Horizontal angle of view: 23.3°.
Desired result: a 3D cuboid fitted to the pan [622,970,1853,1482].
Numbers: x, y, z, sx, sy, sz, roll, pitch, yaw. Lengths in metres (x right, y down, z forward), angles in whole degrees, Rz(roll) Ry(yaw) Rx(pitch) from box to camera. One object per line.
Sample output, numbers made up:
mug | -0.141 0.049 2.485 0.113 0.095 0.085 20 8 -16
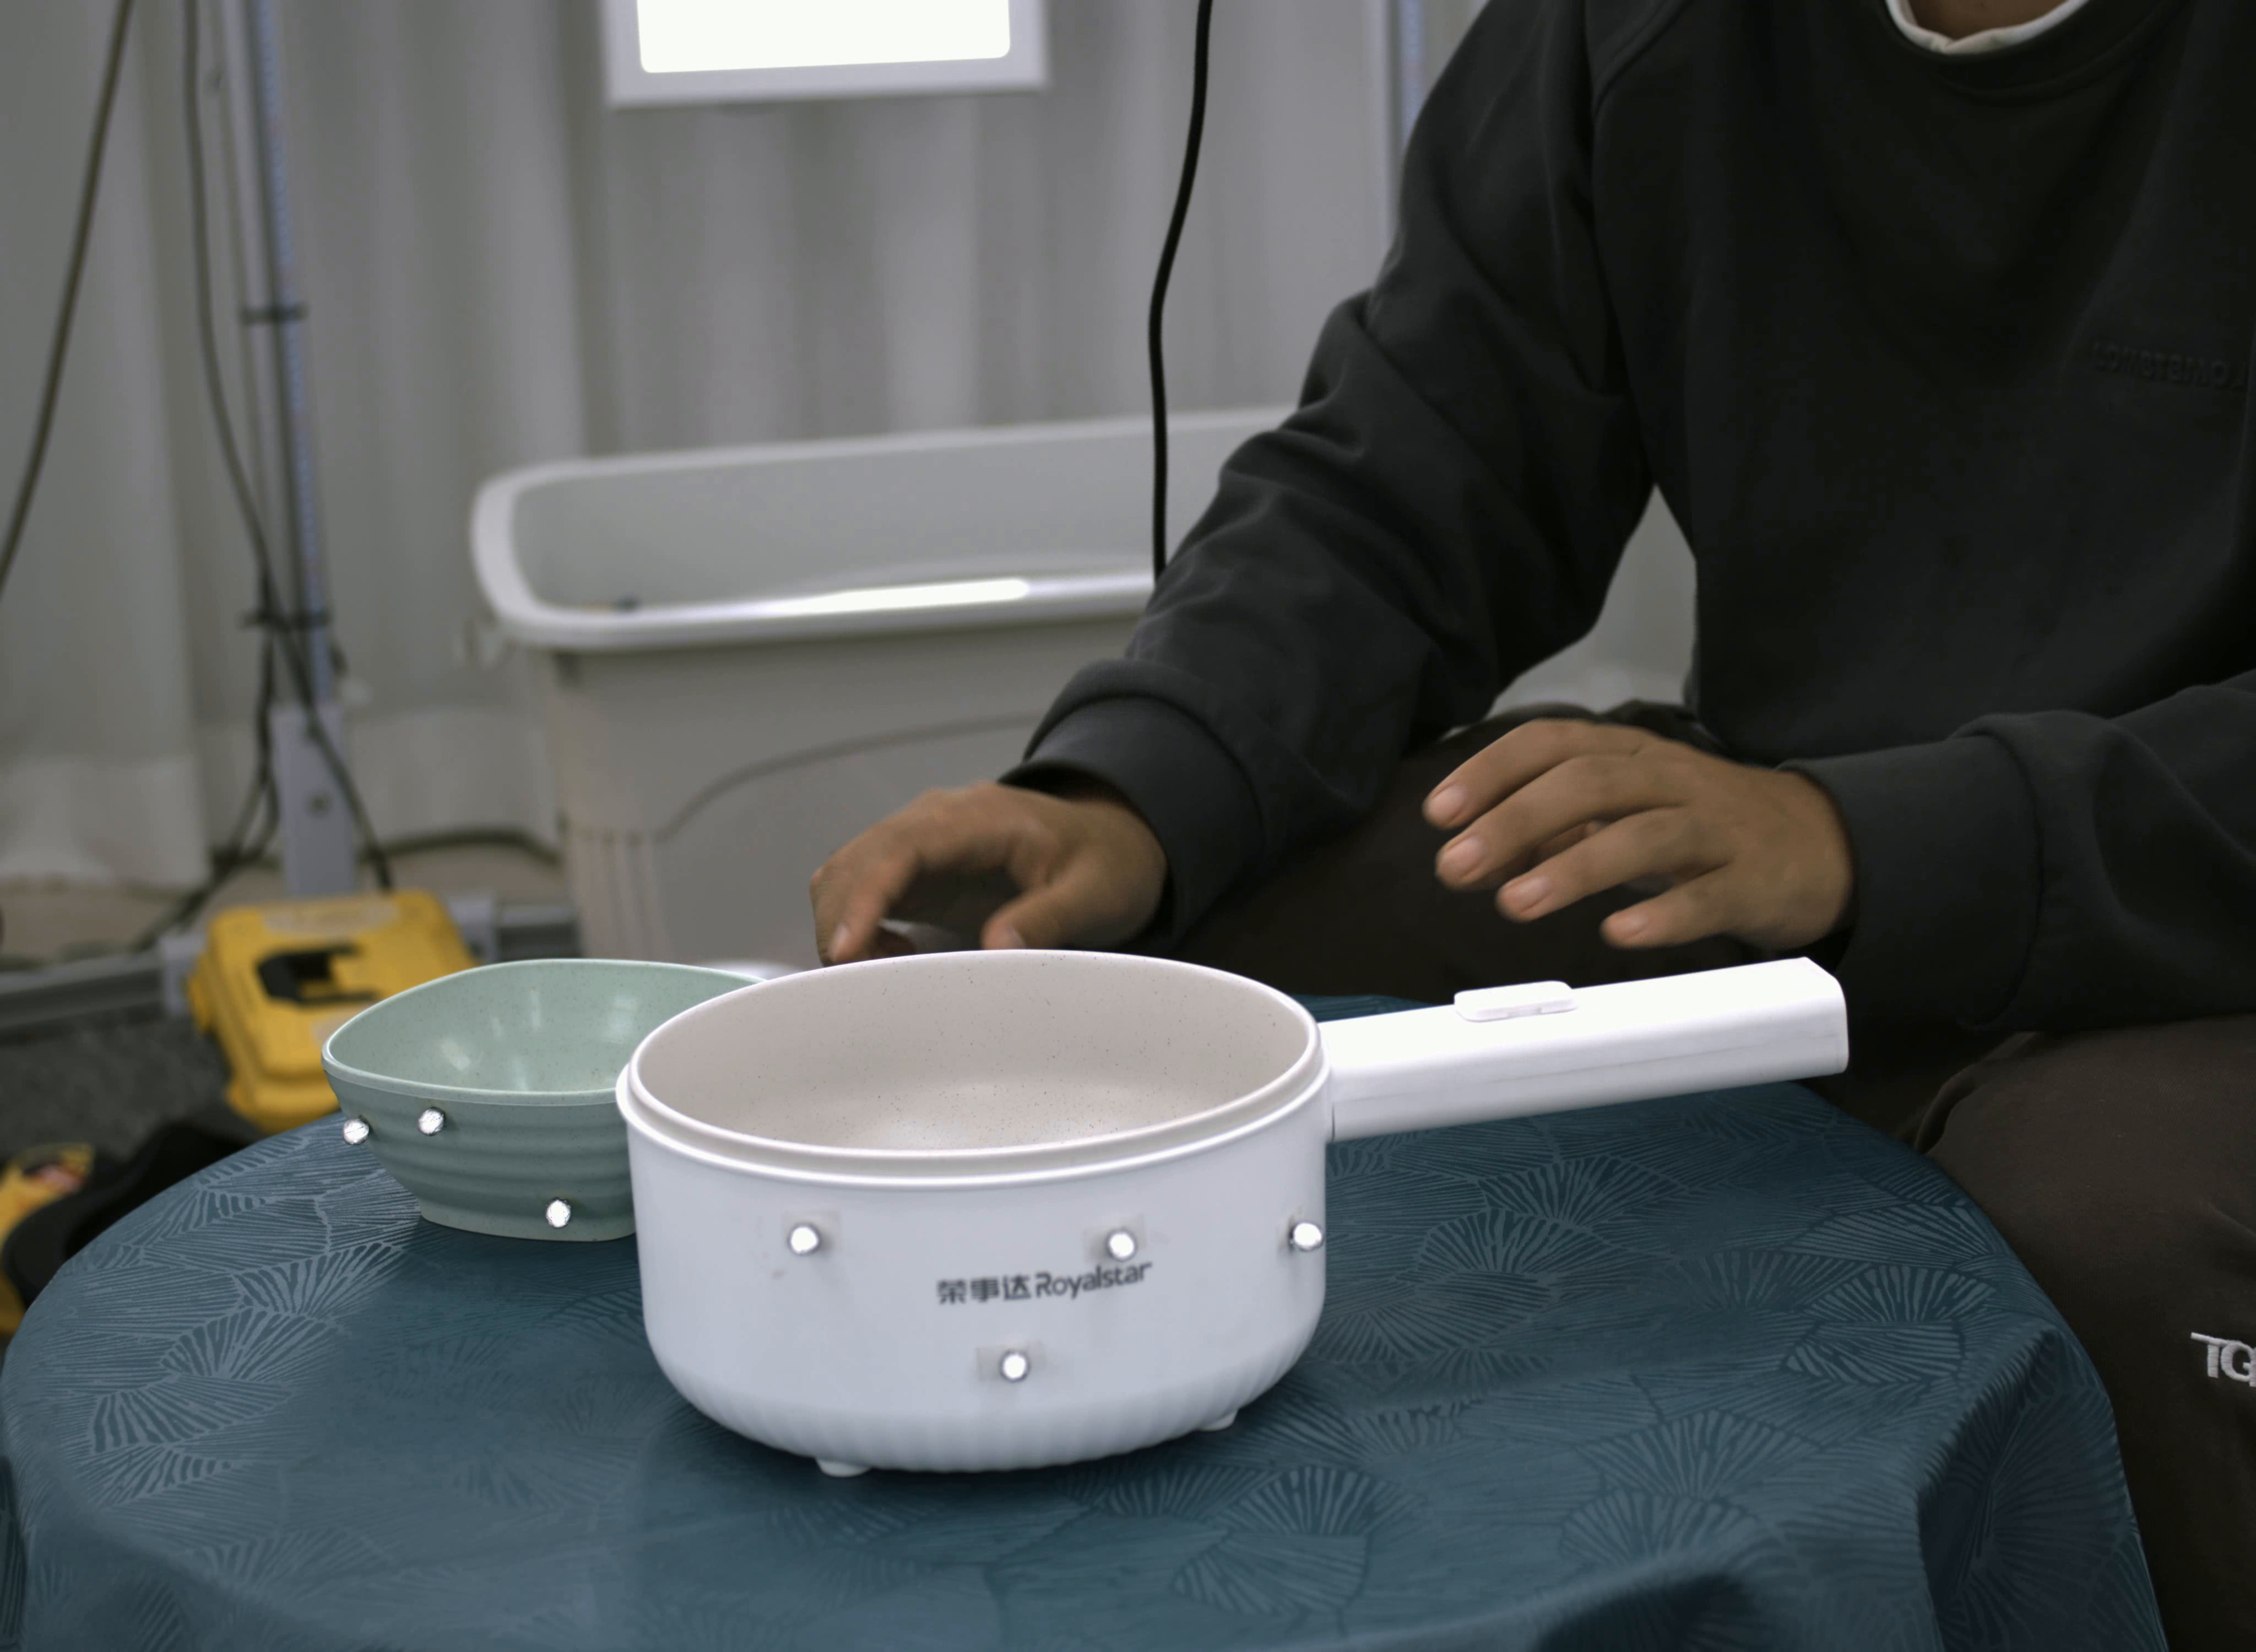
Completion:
pan | 0.034 0.108 1.563 0.353 0.102 0.202 -5 13 -13

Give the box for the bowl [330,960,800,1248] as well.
bowl | -0.175 0.091 1.730 0.151 0.058 0.152 -4 16 1
